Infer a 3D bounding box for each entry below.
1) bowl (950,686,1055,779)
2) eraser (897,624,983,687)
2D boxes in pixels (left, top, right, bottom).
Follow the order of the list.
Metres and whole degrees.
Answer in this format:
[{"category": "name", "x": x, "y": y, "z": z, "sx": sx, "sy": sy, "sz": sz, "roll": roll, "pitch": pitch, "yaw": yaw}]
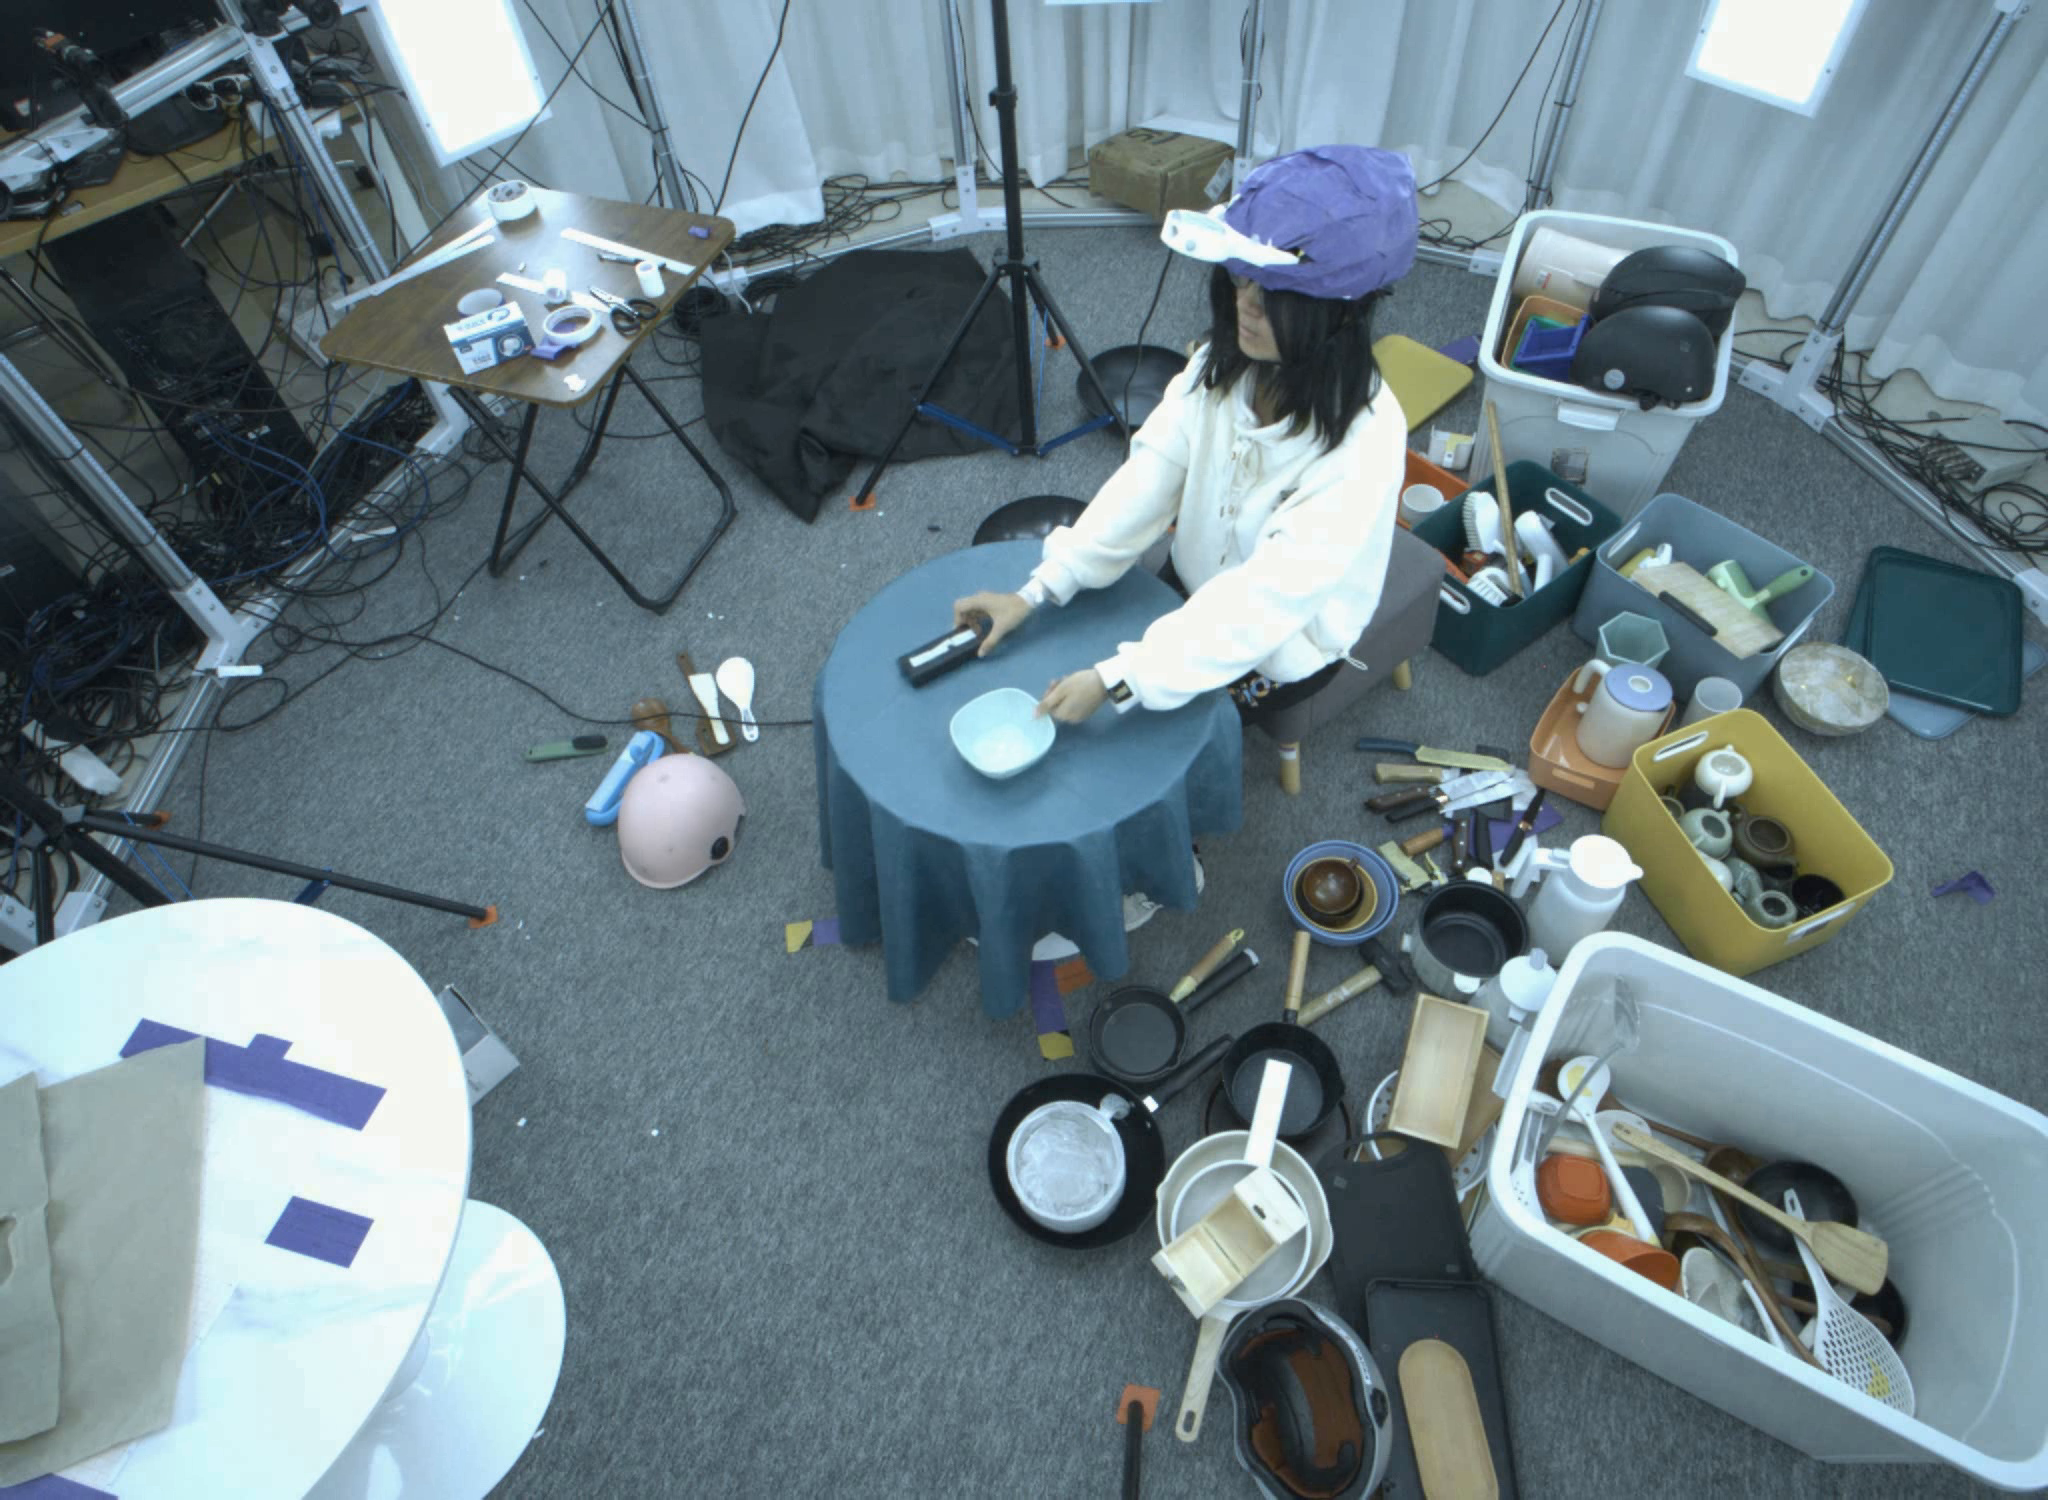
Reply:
[{"category": "bowl", "x": -0.030, "y": -0.014, "z": 1.765, "sx": 0.151, "sy": 0.059, "sz": 0.150, "roll": 0, "pitch": 58, "yaw": 1}, {"category": "eraser", "x": -0.129, "y": -0.145, "z": 1.878, "sx": 0.126, "sy": 0.031, "sz": 0.052, "roll": -29, "pitch": 61, "yaw": -20}]
